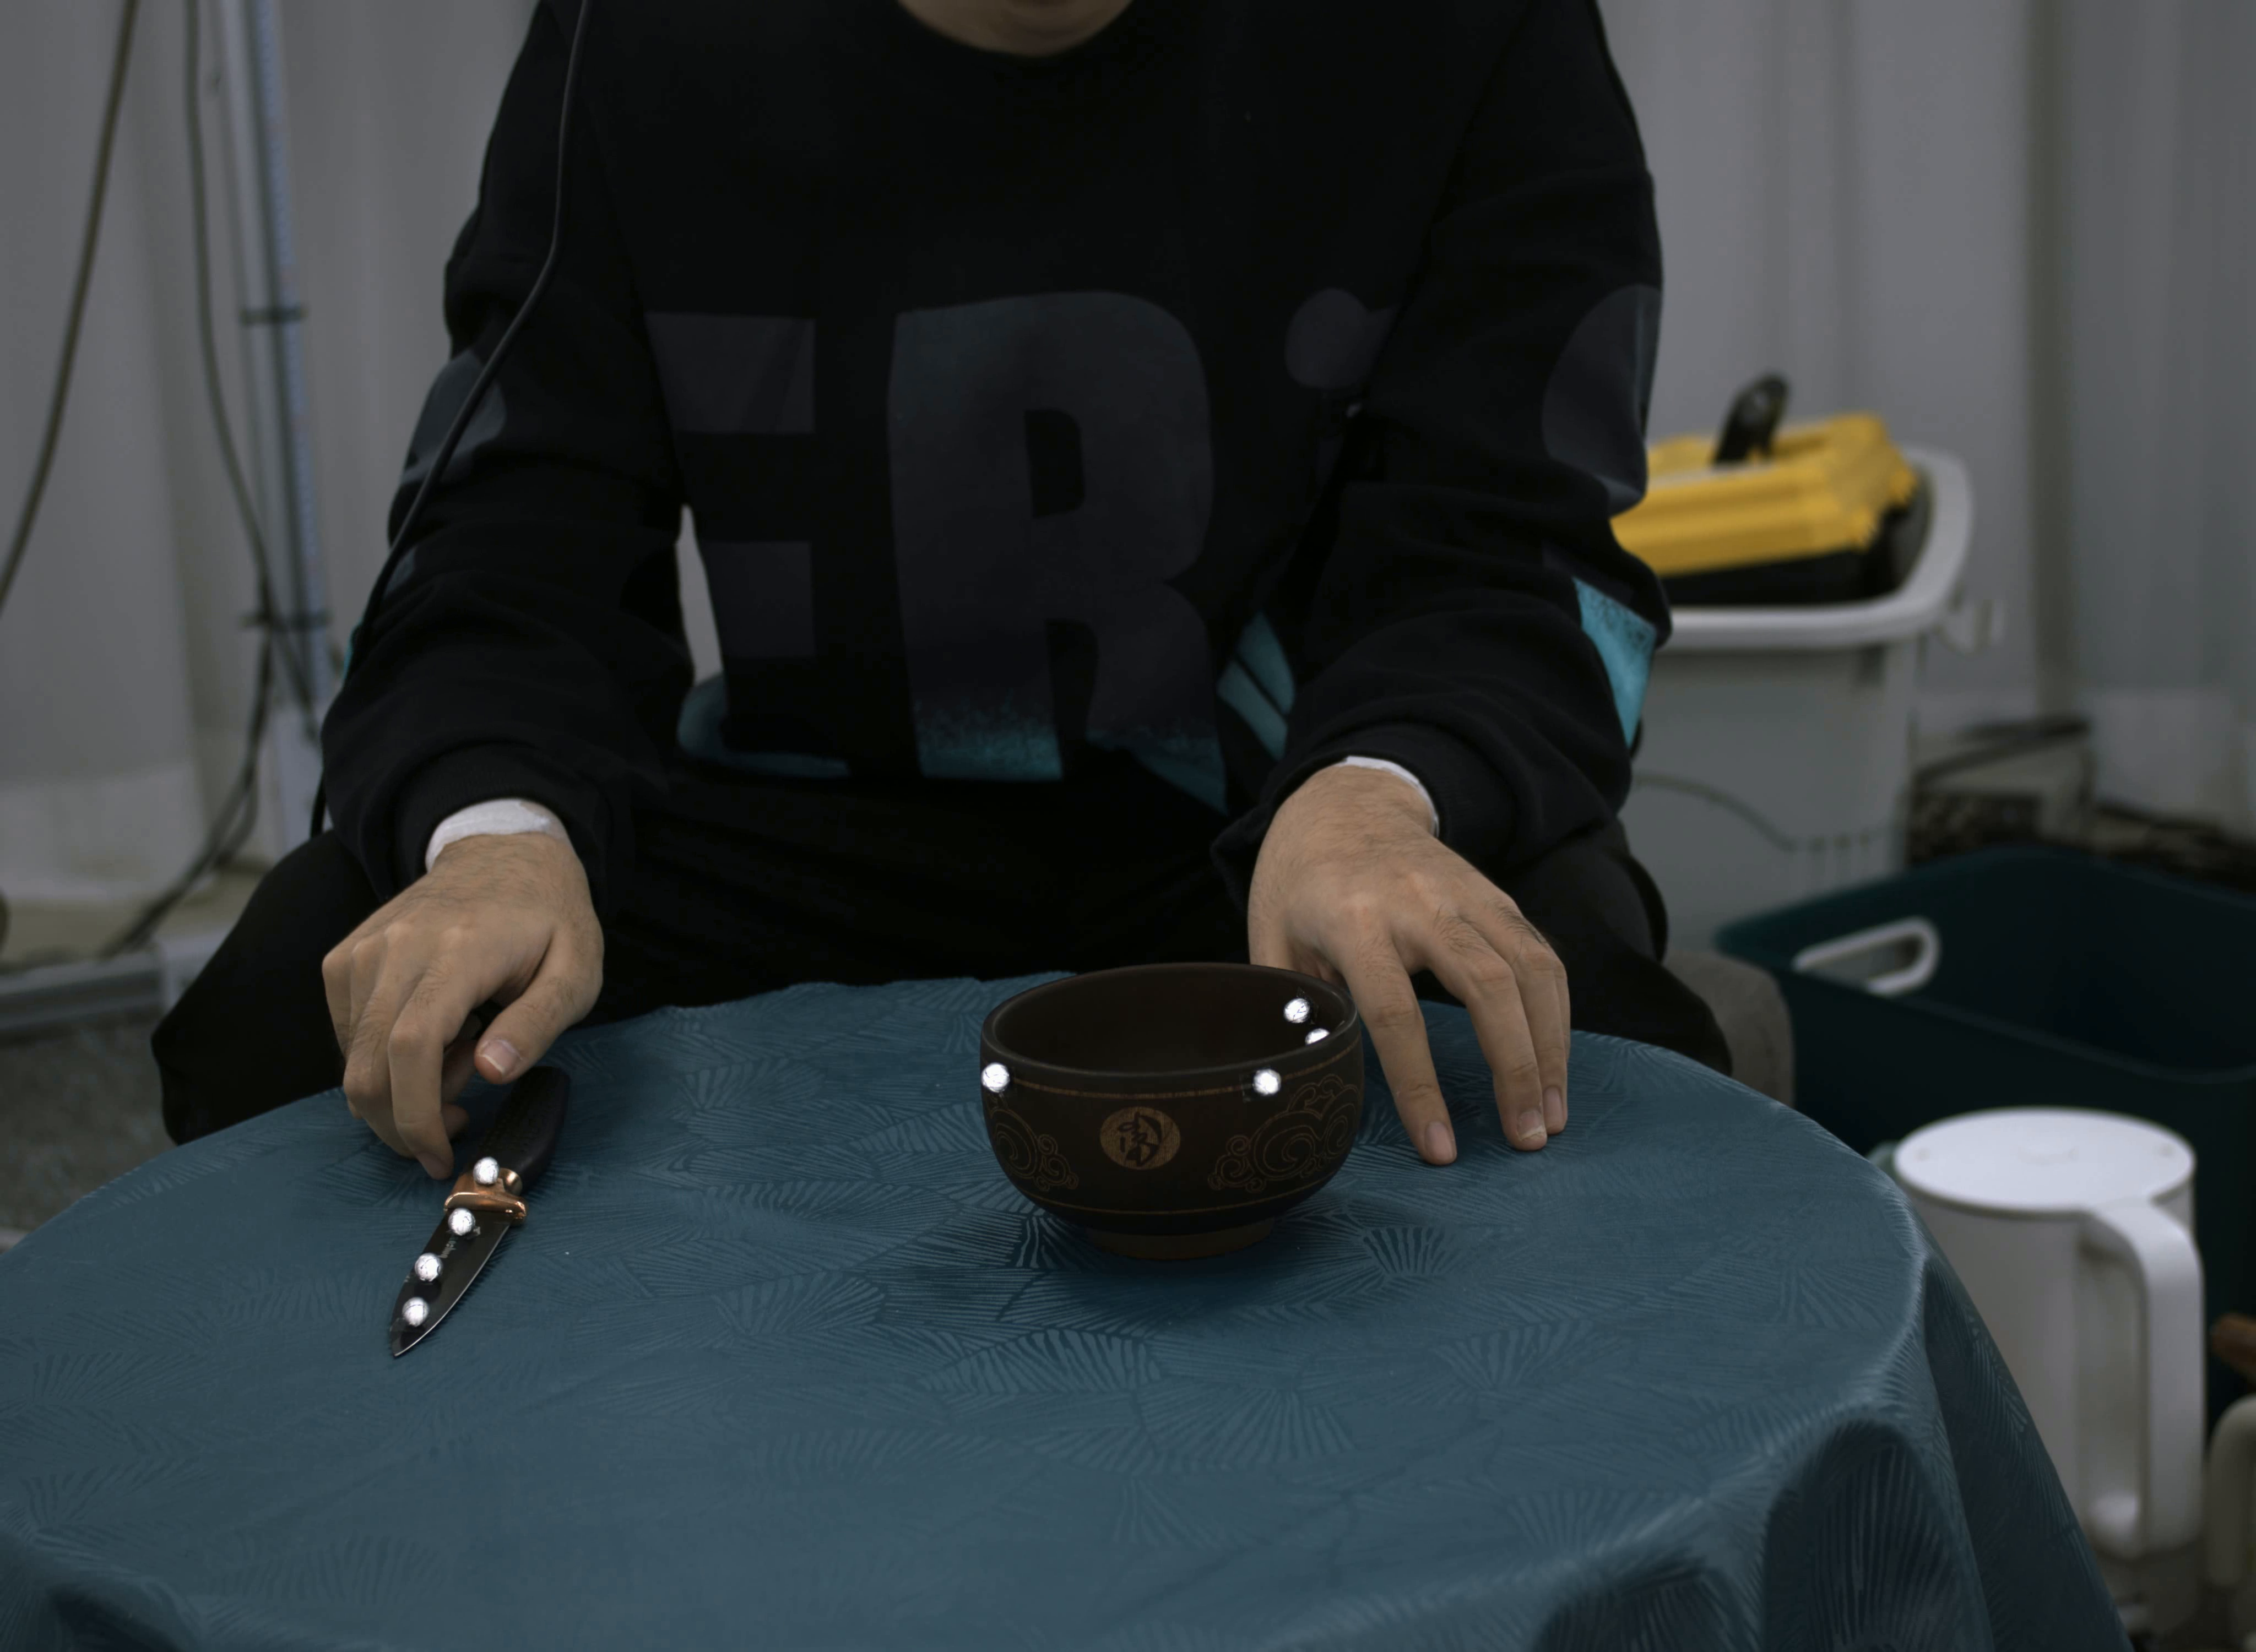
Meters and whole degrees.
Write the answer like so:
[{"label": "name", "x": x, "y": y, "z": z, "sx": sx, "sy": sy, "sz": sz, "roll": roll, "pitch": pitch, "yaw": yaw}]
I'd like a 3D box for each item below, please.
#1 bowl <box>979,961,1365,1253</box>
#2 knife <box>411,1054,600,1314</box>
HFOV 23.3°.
[{"label": "bowl", "x": 0.014, "y": 0.089, "z": 1.665, "sx": 0.117, "sy": 0.069, "sz": 0.119, "roll": -2, "pitch": 13, "yaw": 0}, {"label": "knife", "x": -0.195, "y": 0.114, "z": 1.703, "sx": 0.017, "sy": 0.026, "sz": 0.227, "roll": 22, "pitch": 18, "yaw": 1}]
